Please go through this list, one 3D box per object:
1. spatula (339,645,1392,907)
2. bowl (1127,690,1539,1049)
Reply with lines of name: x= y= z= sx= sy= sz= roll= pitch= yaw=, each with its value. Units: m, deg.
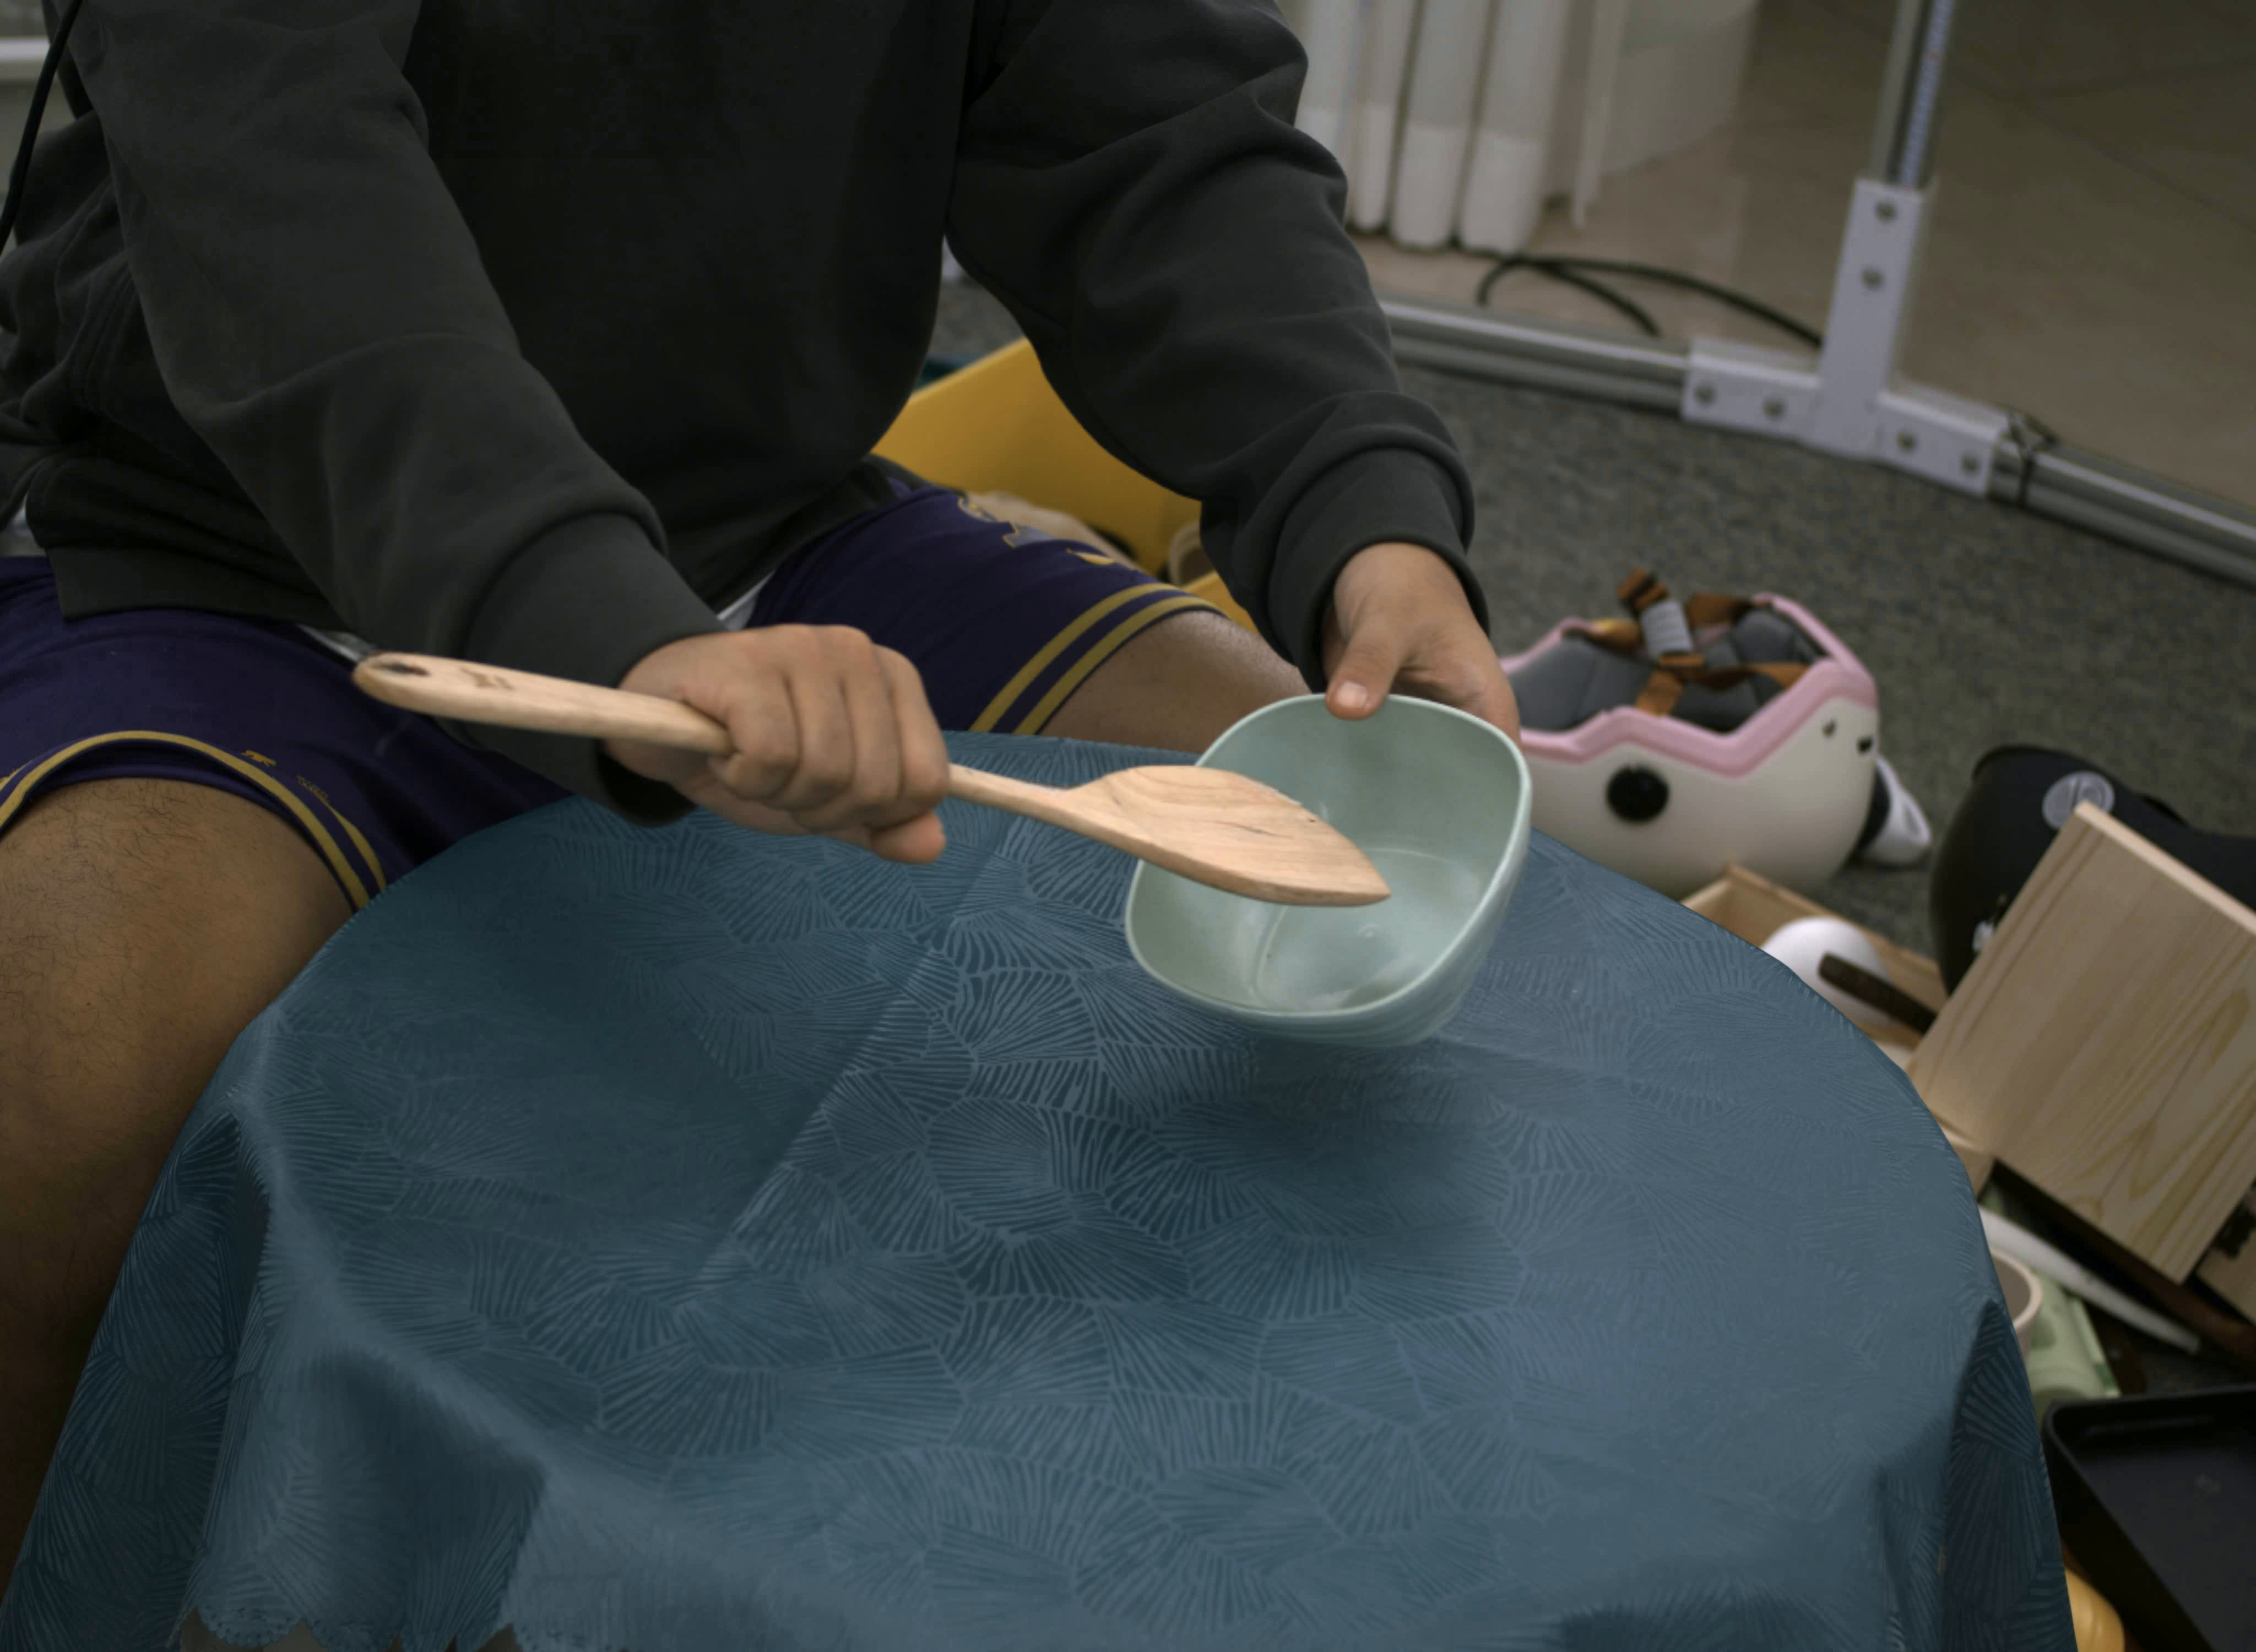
spatula: x=-0.078 y=-0.018 z=1.699 sx=0.387 sy=0.018 sz=0.096 roll=12 pitch=18 yaw=-37
bowl: x=0.078 y=0.026 z=1.851 sx=0.151 sy=0.058 sz=0.153 roll=-12 pitch=49 yaw=14
